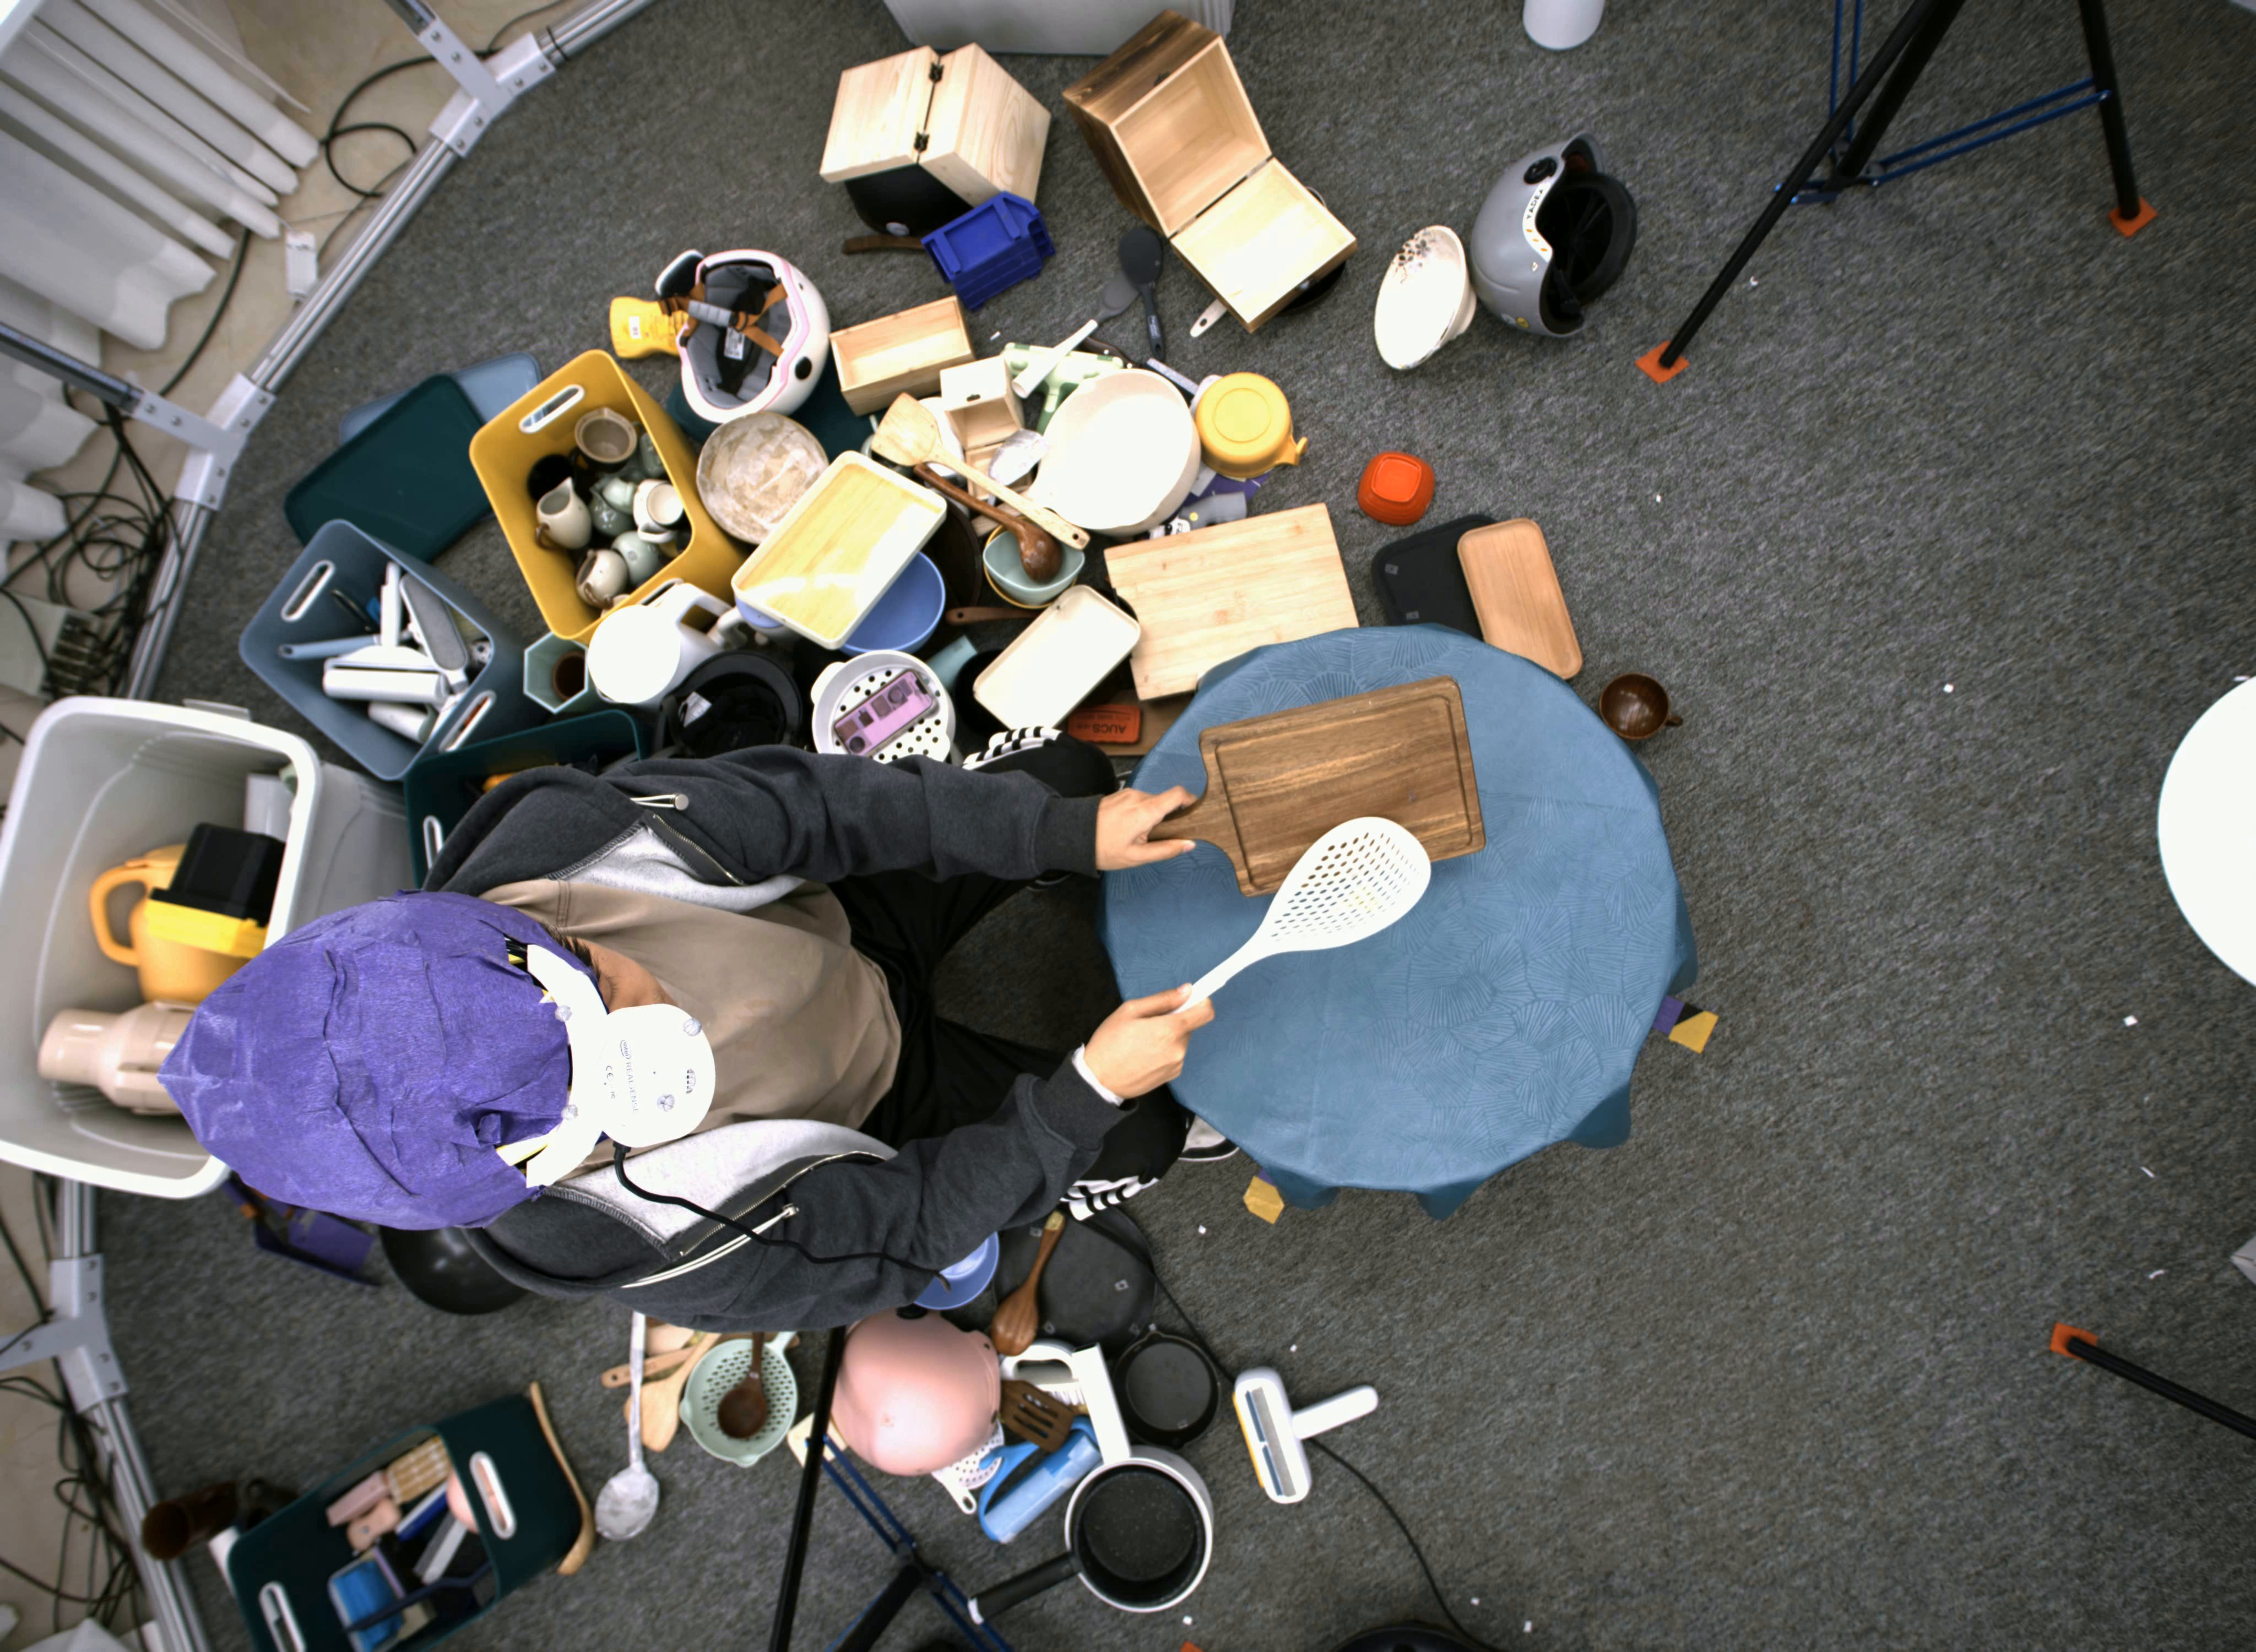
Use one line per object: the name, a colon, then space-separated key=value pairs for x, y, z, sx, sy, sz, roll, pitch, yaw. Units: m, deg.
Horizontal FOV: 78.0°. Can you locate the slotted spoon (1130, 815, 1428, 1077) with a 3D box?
slotted spoon: x=0.134 y=0.119 z=1.323 sx=0.347 sy=0.051 sz=0.134 roll=-35 pitch=45 yaw=-2

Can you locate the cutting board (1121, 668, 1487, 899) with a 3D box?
cutting board: x=0.162 y=-0.026 z=1.351 sx=0.354 sy=0.022 sz=0.205 roll=-13 pitch=122 yaw=11
